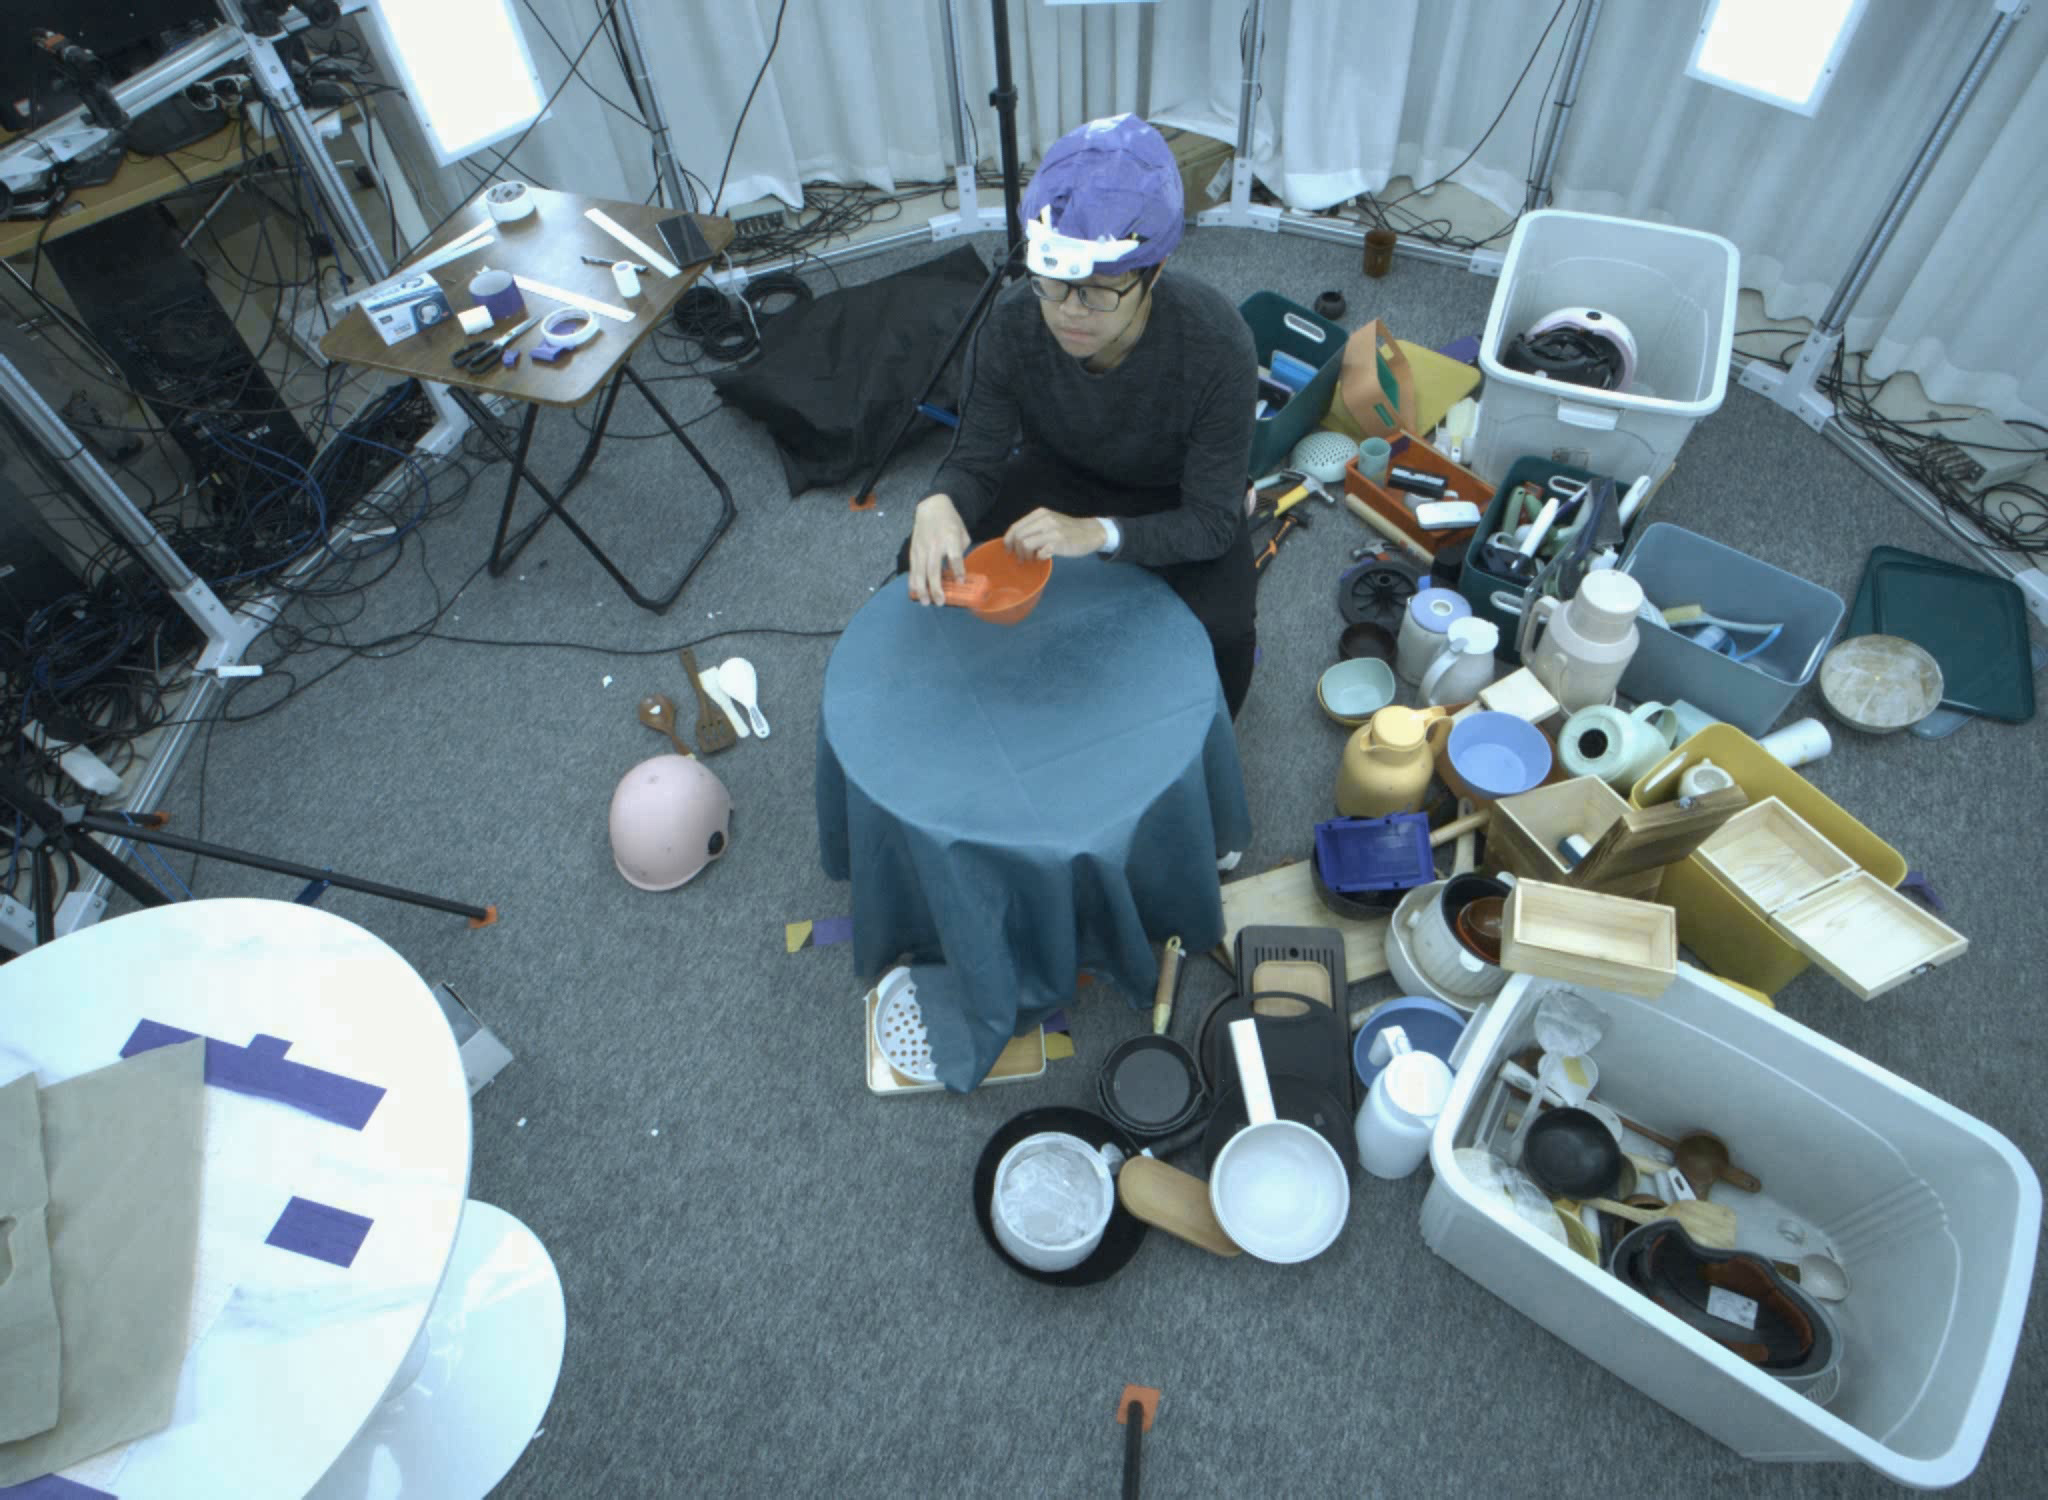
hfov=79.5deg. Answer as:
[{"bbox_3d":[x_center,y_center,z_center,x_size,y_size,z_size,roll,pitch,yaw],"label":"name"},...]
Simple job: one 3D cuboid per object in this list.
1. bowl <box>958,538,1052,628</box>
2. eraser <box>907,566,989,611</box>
[{"bbox_3d":[-0.025,-0.230,1.794,0.147,0.106,0.146,-4,59,8],"label":"bowl"},{"bbox_3d":[-0.109,-0.231,1.745,0.107,0.023,0.059,11,52,15],"label":"eraser"}]
